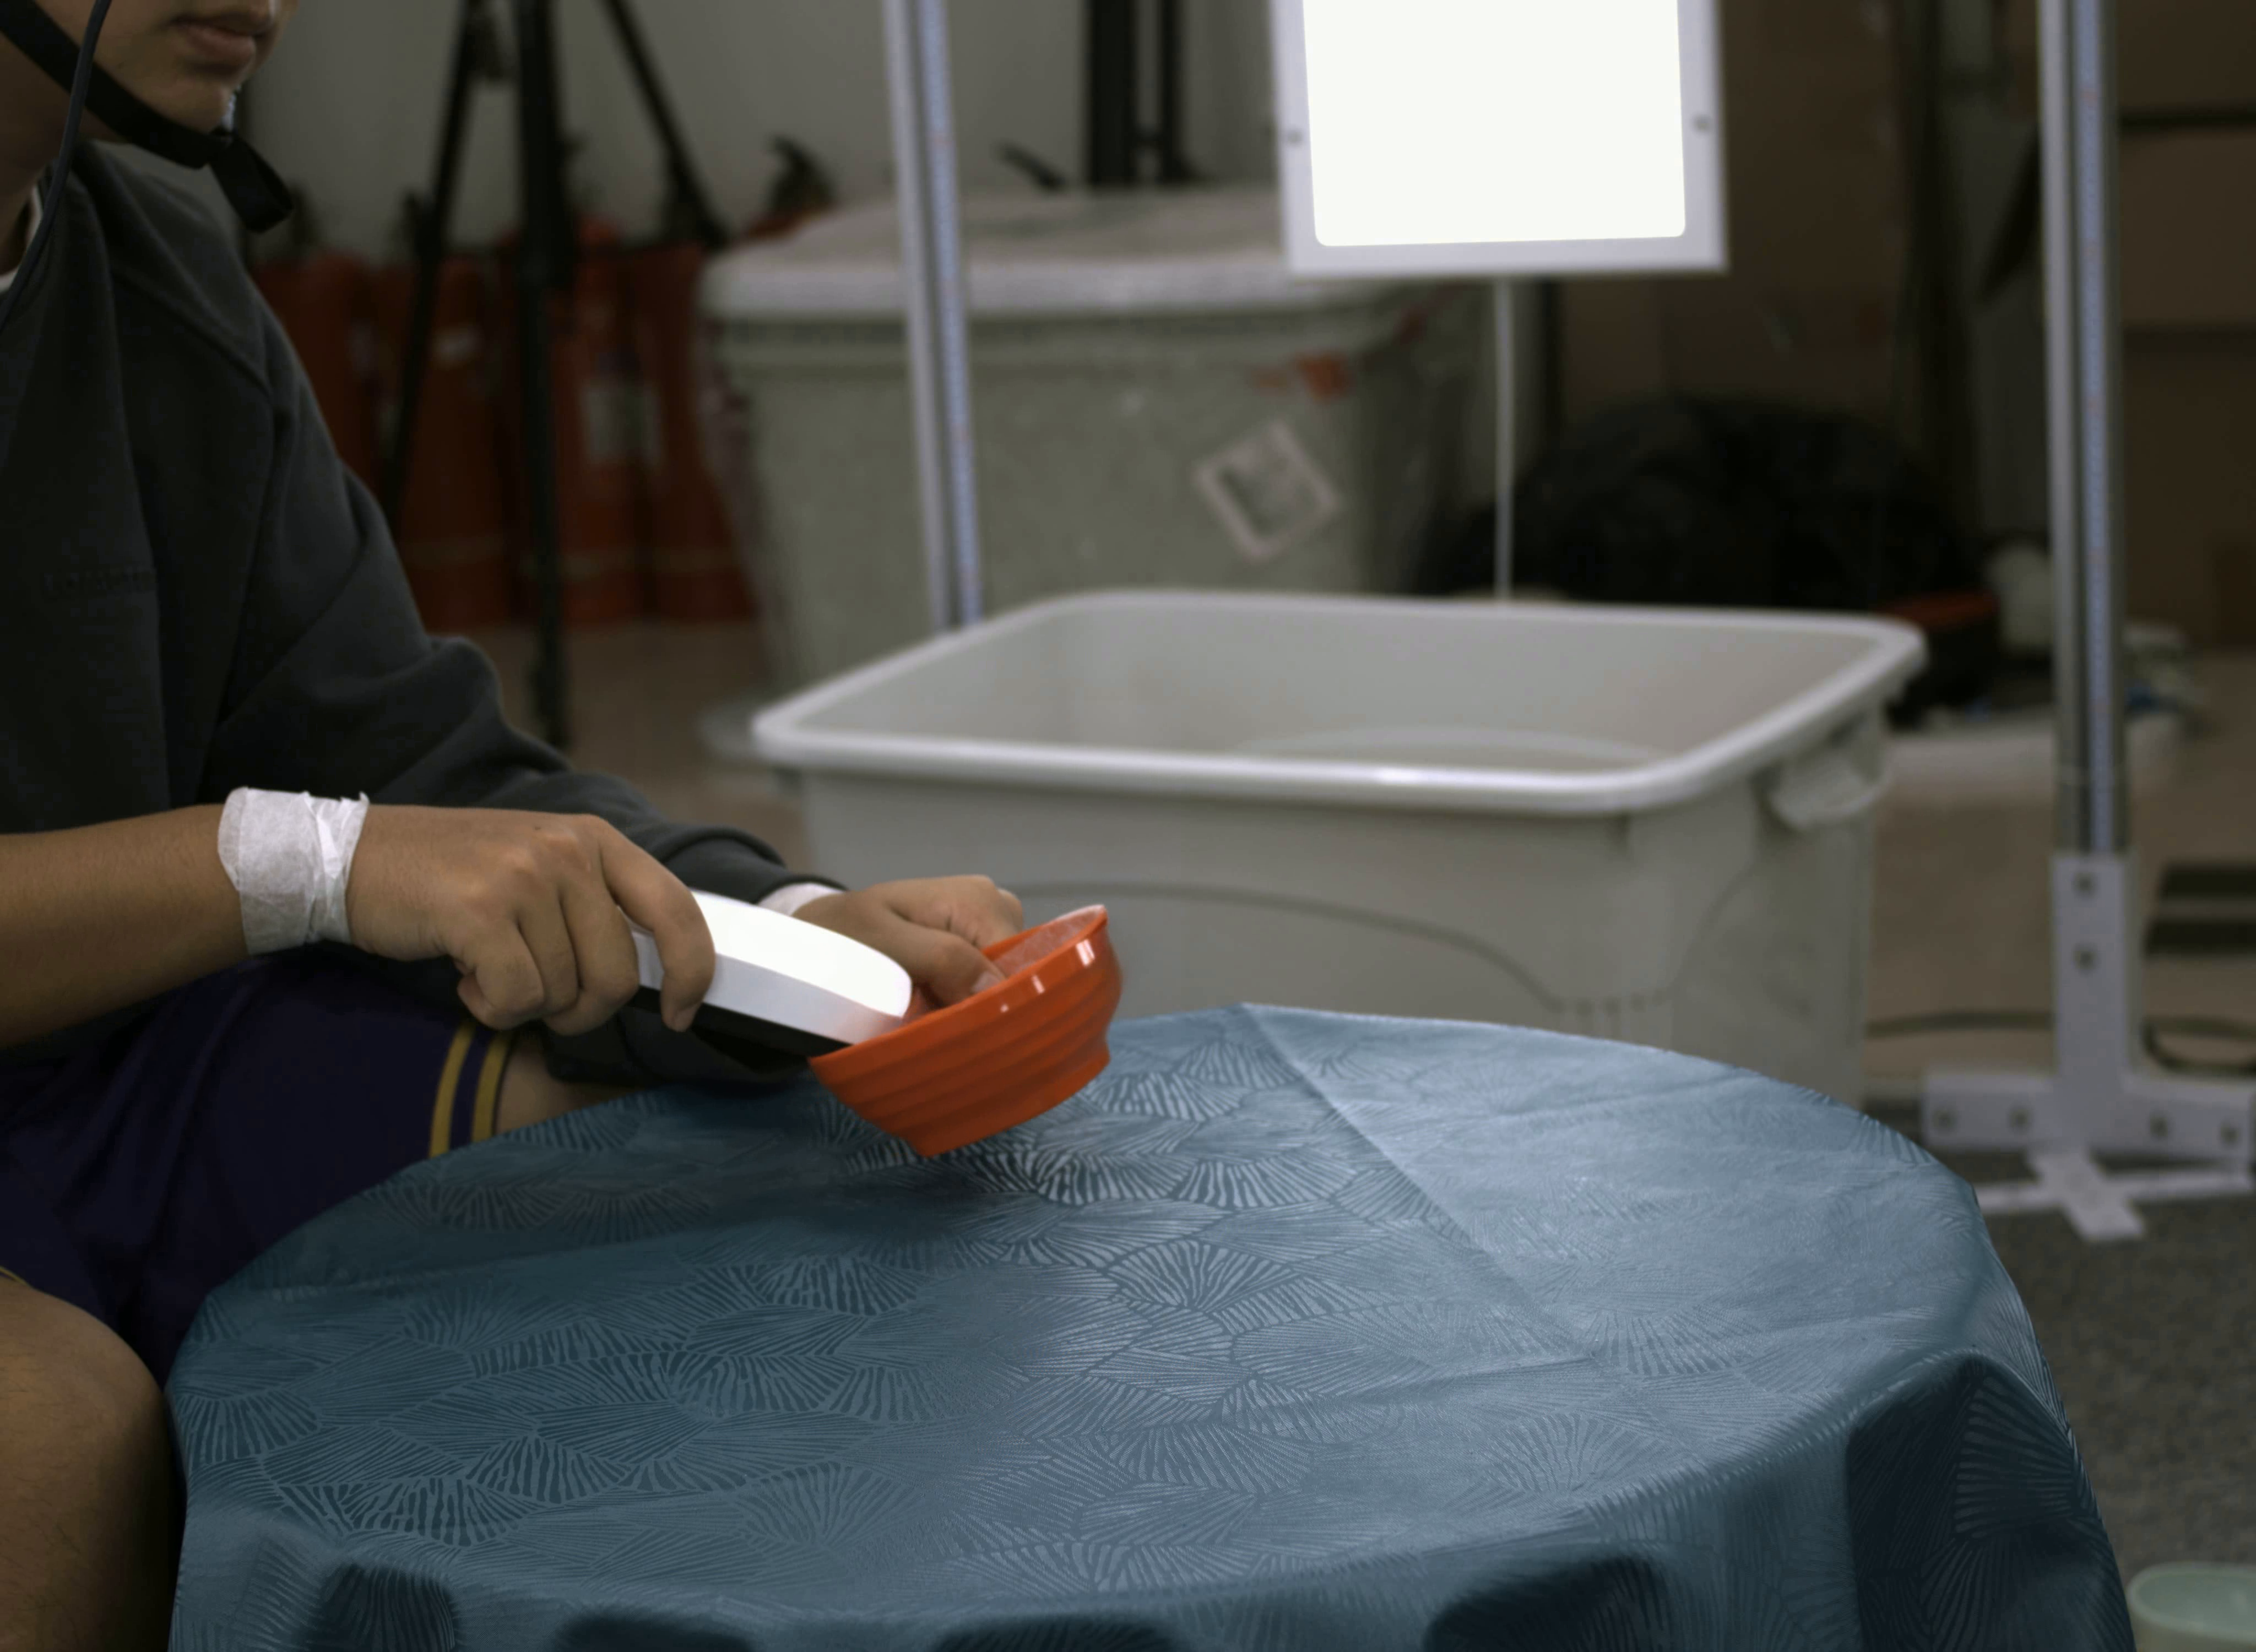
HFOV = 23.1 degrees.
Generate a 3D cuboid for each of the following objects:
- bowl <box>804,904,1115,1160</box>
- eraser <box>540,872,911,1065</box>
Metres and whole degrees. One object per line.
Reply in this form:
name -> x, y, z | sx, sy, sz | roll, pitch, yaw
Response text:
bowl -> -0.050, 0.076, 1.913 | 0.119, 0.051, 0.119 | -27, 6, 2
eraser -> -0.139, 0.048, 1.917 | 0.130, 0.035, 0.063 | 18, 15, -3
